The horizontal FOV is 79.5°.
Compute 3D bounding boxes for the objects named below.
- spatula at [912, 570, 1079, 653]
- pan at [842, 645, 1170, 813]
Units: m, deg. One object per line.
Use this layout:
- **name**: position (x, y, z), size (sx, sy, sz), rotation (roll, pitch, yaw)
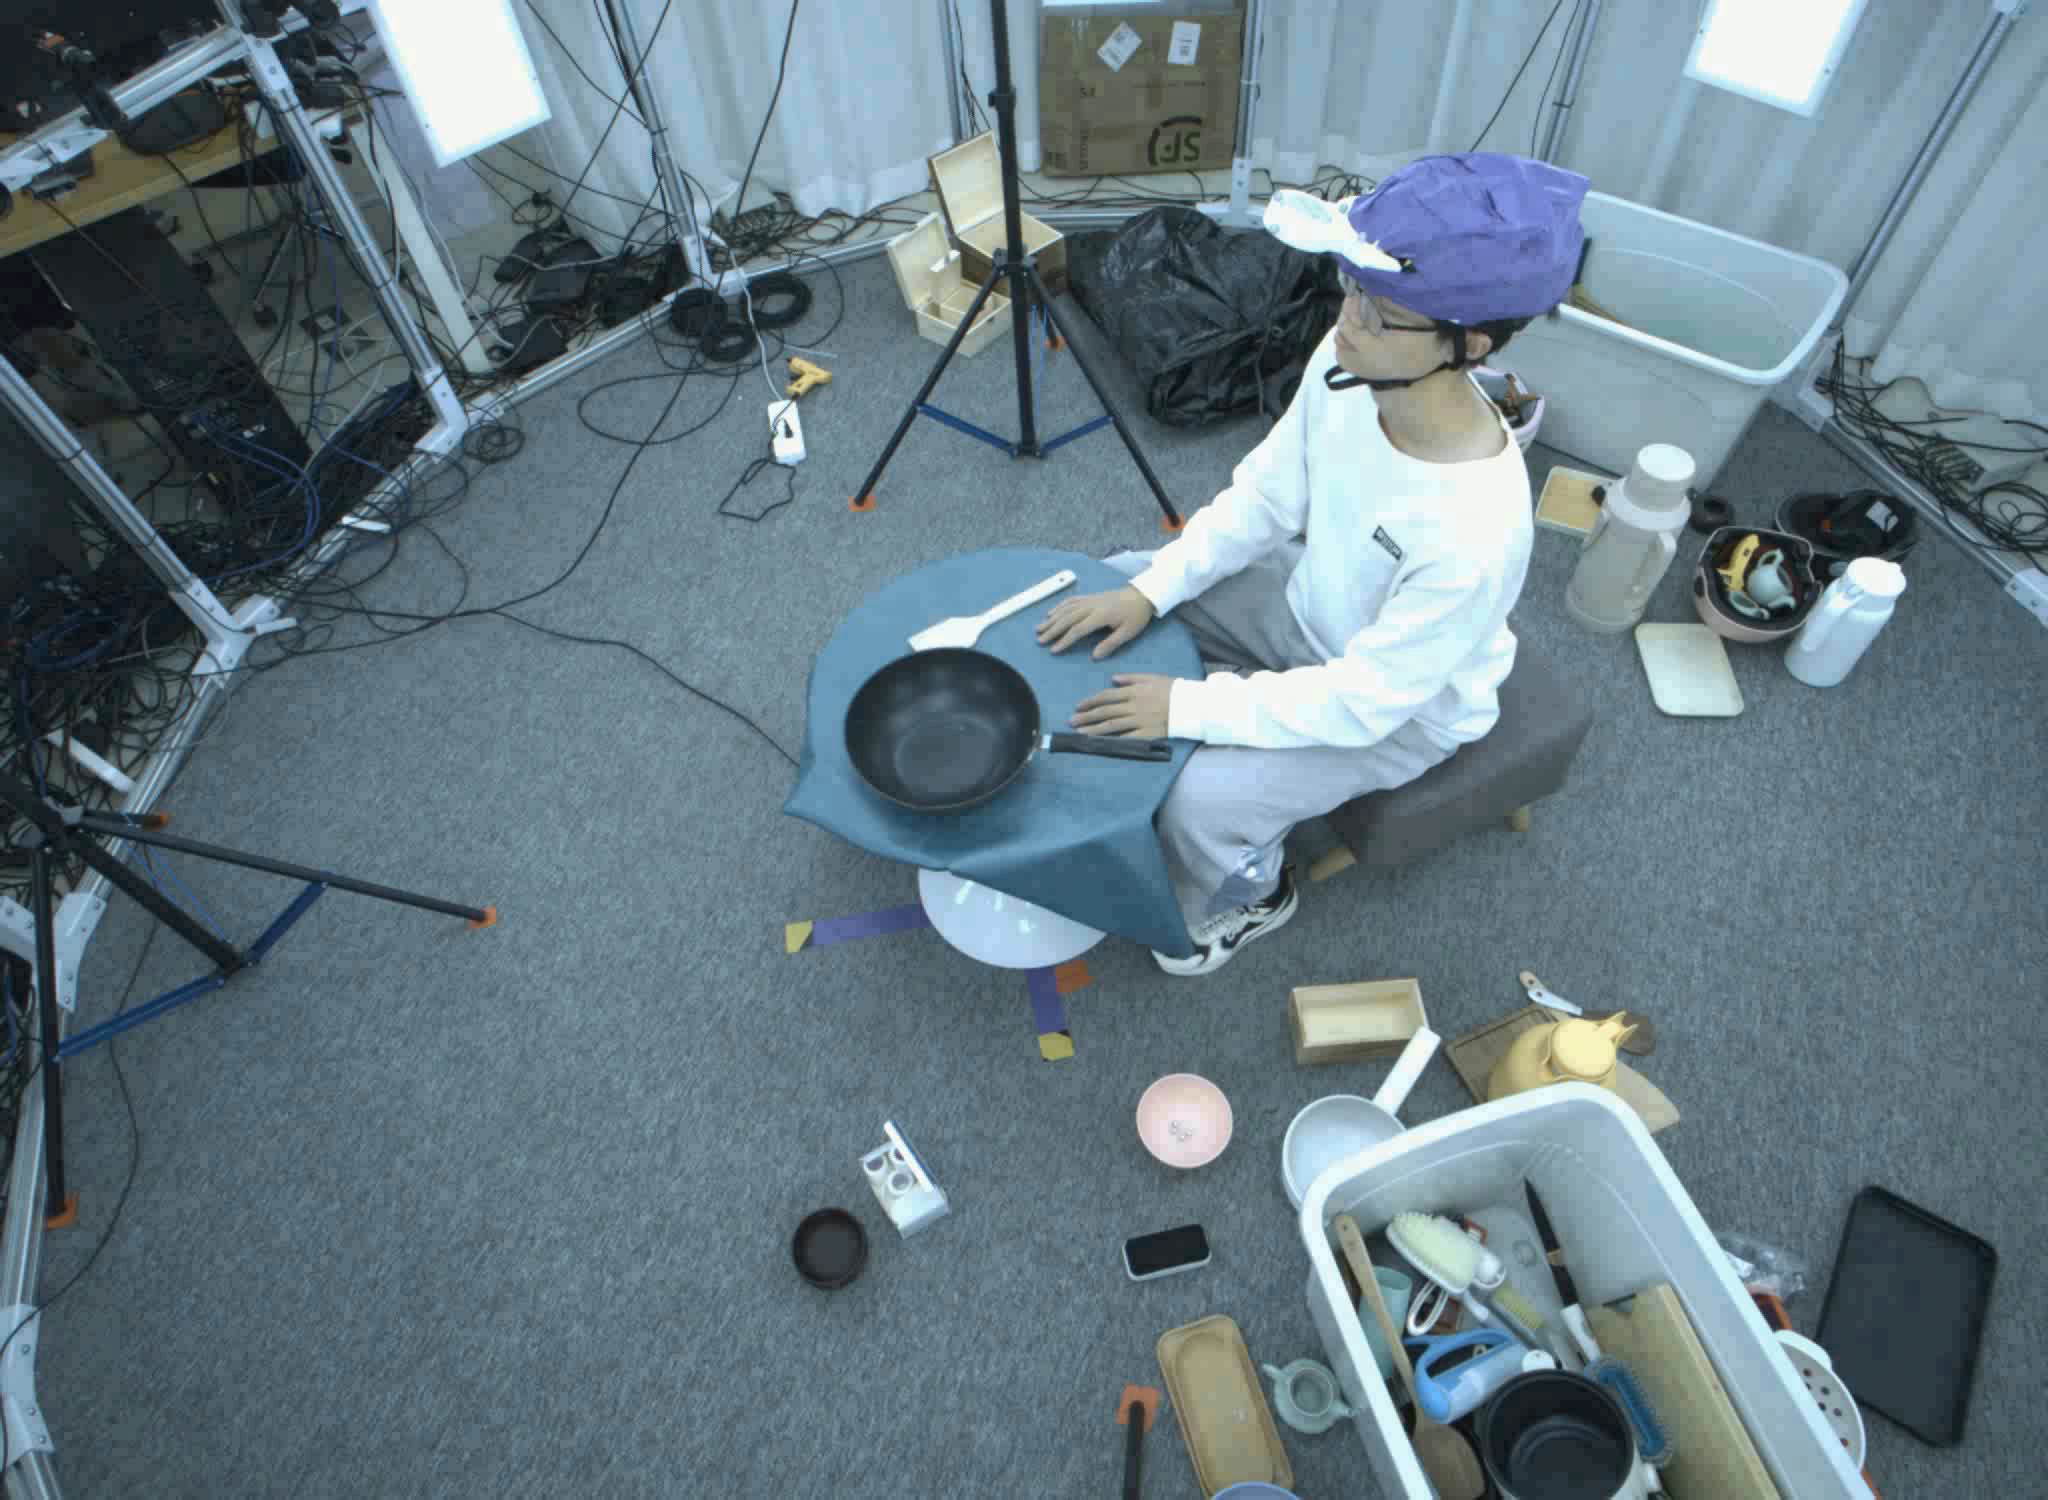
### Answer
- **spatula**: position (-0.038, -0.217, 1.936), size (0.295, 0.011, 0.071), rotation (-29, 57, -18)
- **pan**: position (-0.025, -0.004, 1.738), size (0.461, 0.088, 0.286), rotation (8, 56, 6)
